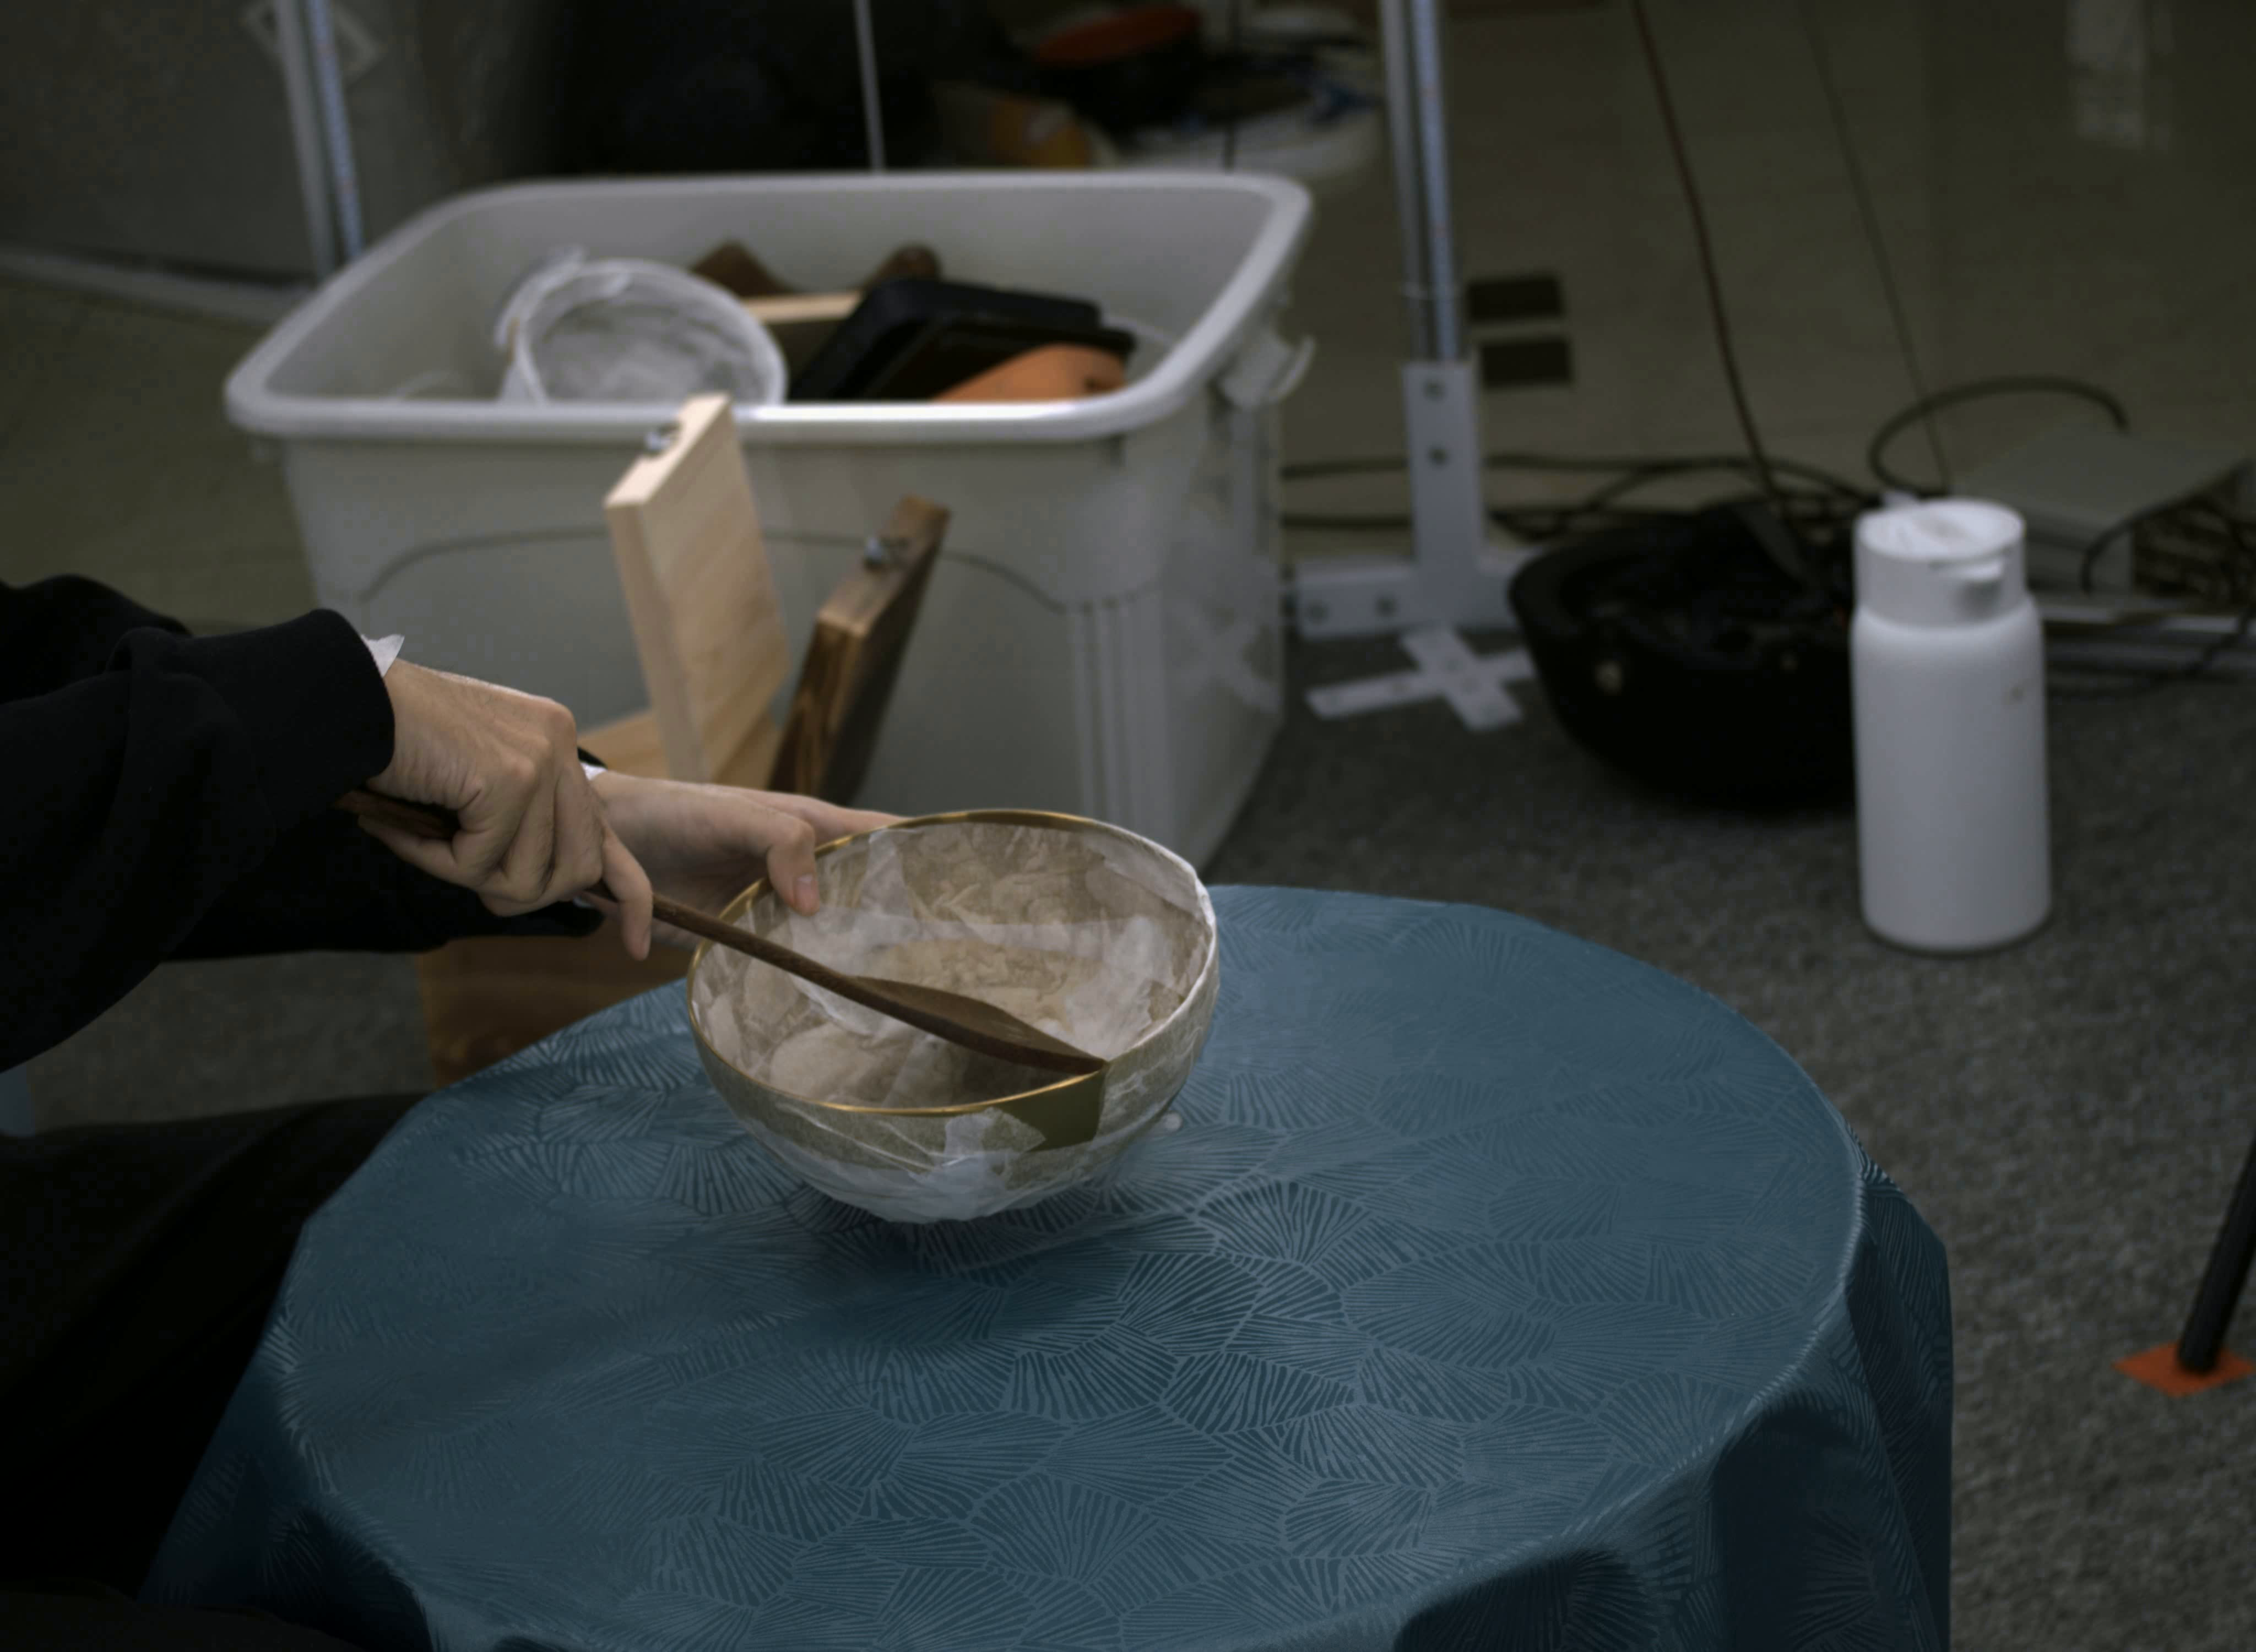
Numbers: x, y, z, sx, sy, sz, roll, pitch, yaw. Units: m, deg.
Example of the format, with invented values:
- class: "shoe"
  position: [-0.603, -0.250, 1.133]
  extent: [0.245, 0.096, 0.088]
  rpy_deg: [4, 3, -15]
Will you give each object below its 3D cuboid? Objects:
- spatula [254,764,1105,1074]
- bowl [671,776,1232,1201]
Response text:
- class: "spatula"
  position: [-0.160, 0.035, 2.066]
  extent: [0.388, 0.016, 0.095]
  rpy_deg: [22, 1, -41]
- class: "bowl"
  position: [-0.068, 0.076, 2.147]
  extent: [0.214, 0.096, 0.211]
  rpy_deg: [2, 36, -1]
